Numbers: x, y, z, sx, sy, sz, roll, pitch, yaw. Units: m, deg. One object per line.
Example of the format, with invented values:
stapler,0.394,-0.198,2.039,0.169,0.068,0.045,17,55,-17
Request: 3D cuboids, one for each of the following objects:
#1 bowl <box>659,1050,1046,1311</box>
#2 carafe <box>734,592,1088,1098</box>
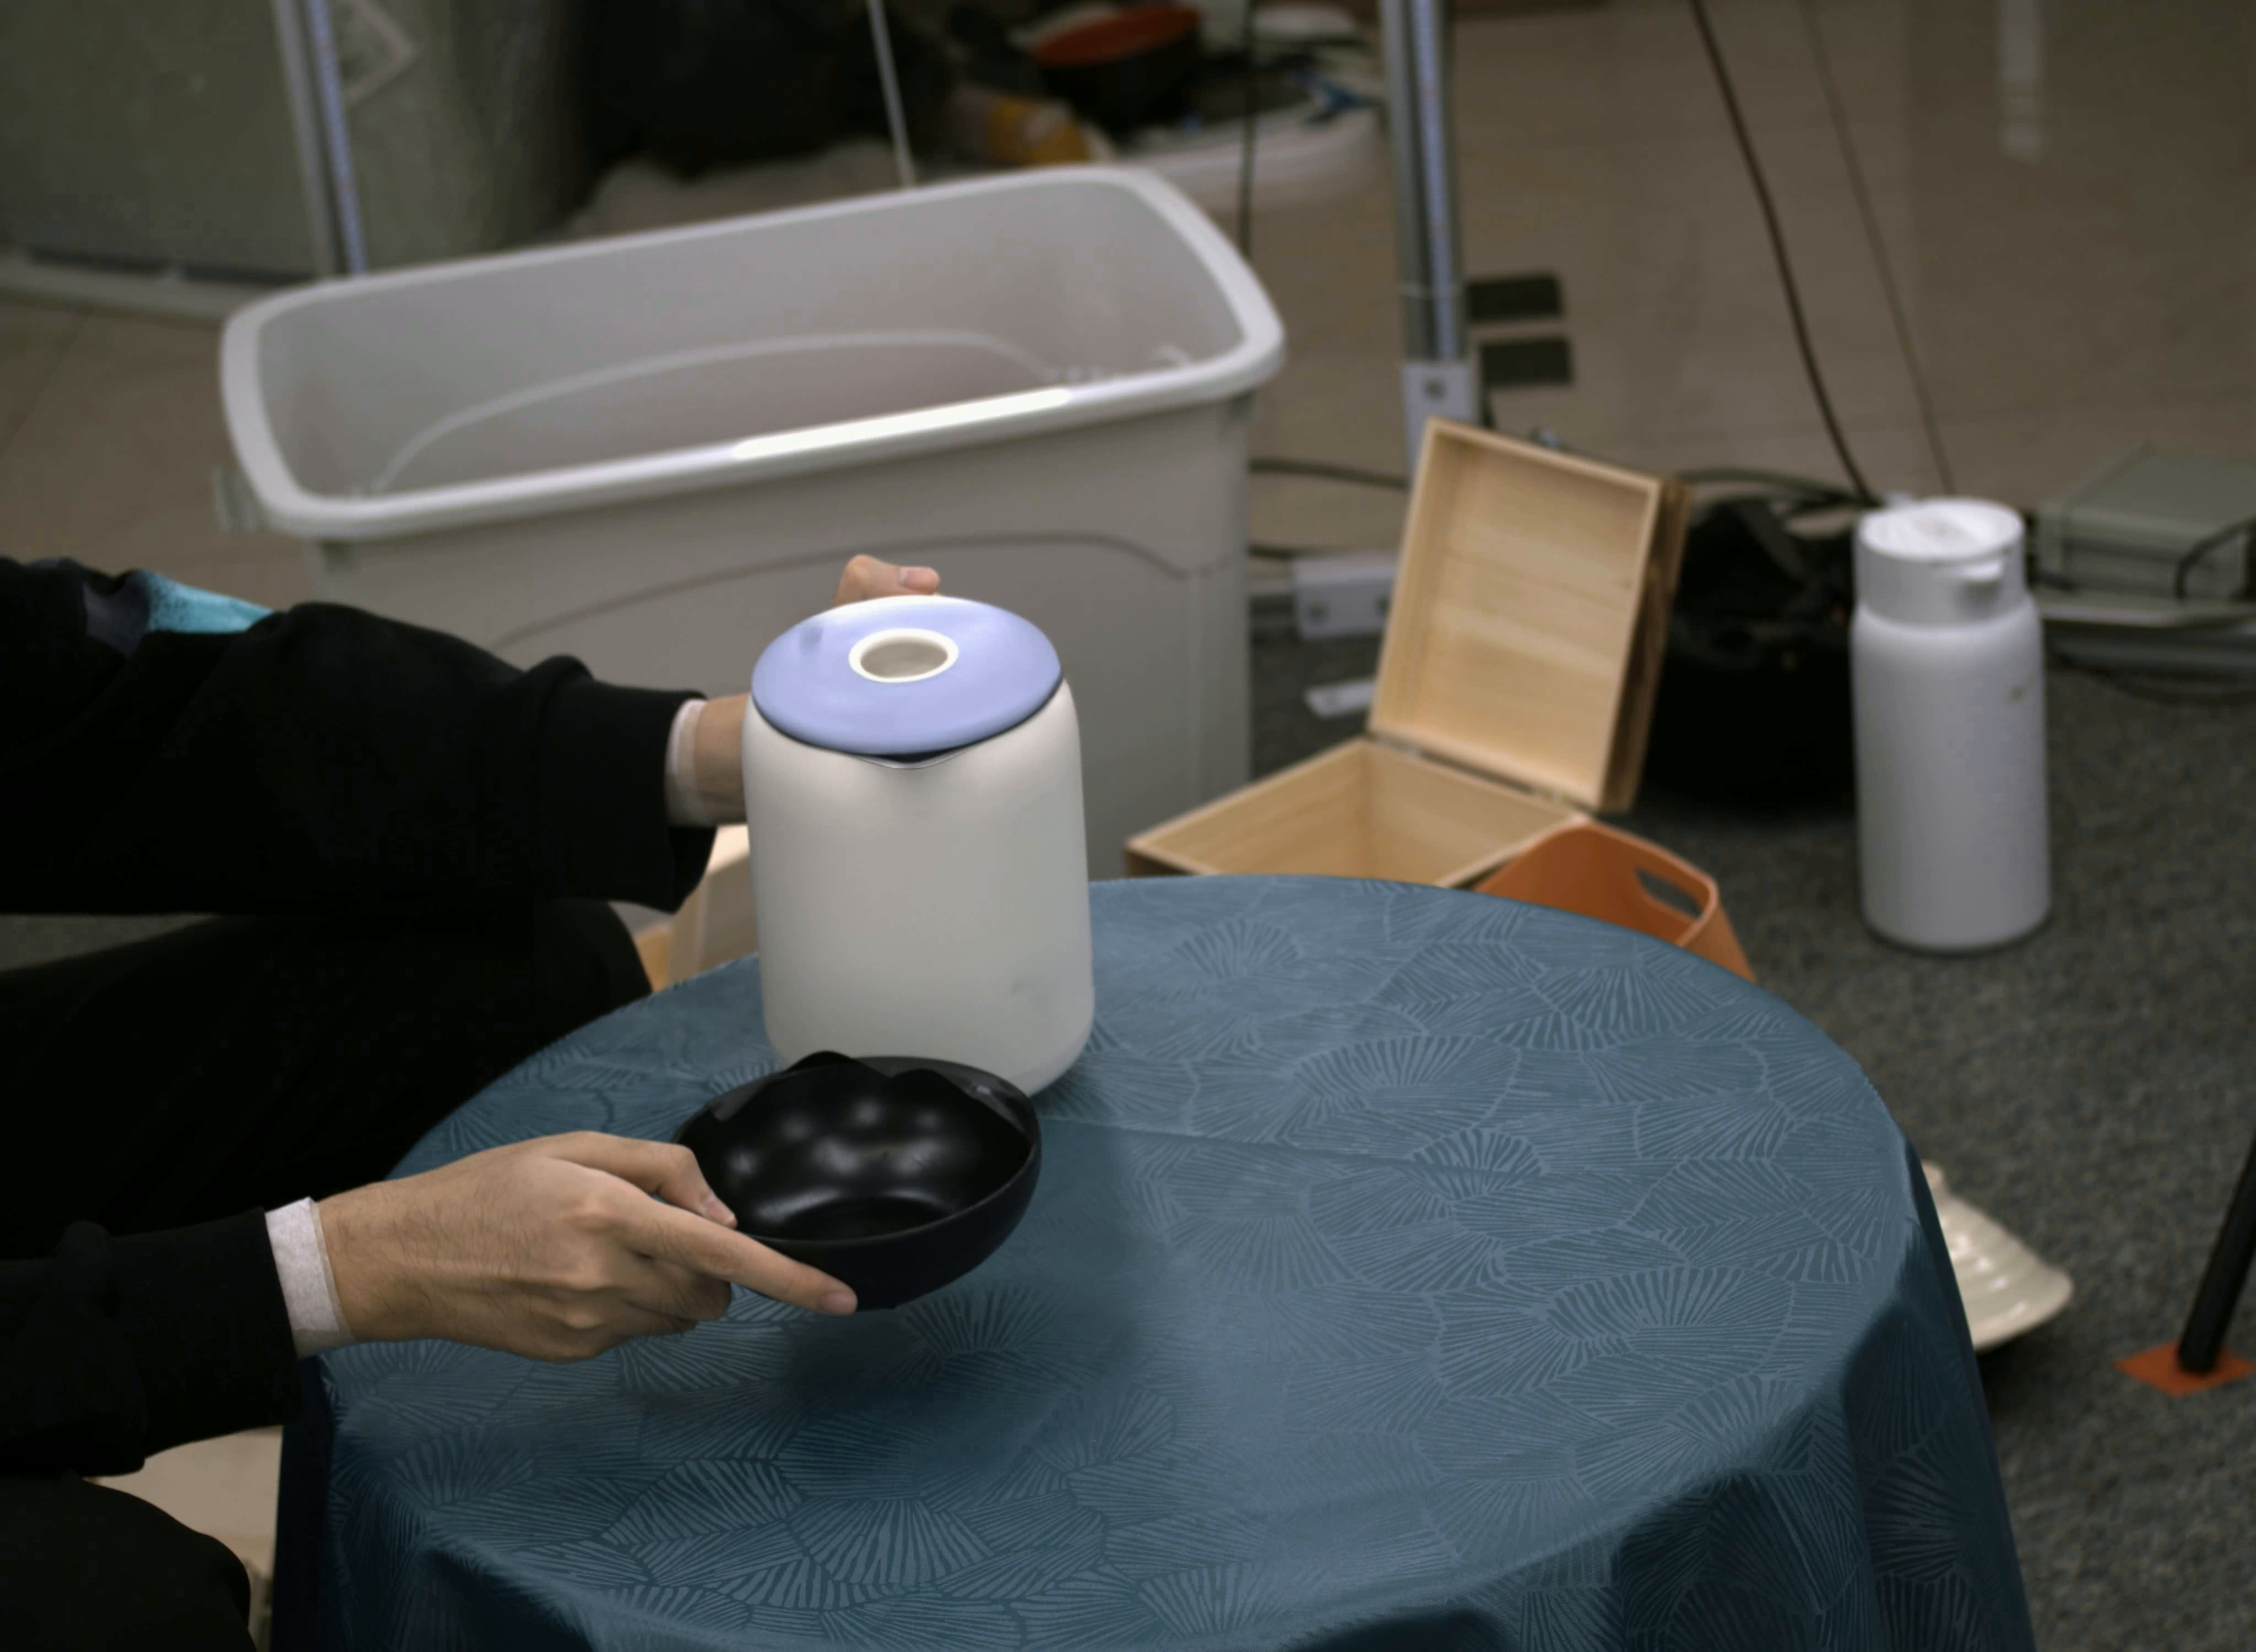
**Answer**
bowl,-0.096,0.135,2.042,0.140,0.050,0.138,-7,27,4
carafe,-0.086,0.000,2.215,0.132,0.186,0.188,-5,29,-5
